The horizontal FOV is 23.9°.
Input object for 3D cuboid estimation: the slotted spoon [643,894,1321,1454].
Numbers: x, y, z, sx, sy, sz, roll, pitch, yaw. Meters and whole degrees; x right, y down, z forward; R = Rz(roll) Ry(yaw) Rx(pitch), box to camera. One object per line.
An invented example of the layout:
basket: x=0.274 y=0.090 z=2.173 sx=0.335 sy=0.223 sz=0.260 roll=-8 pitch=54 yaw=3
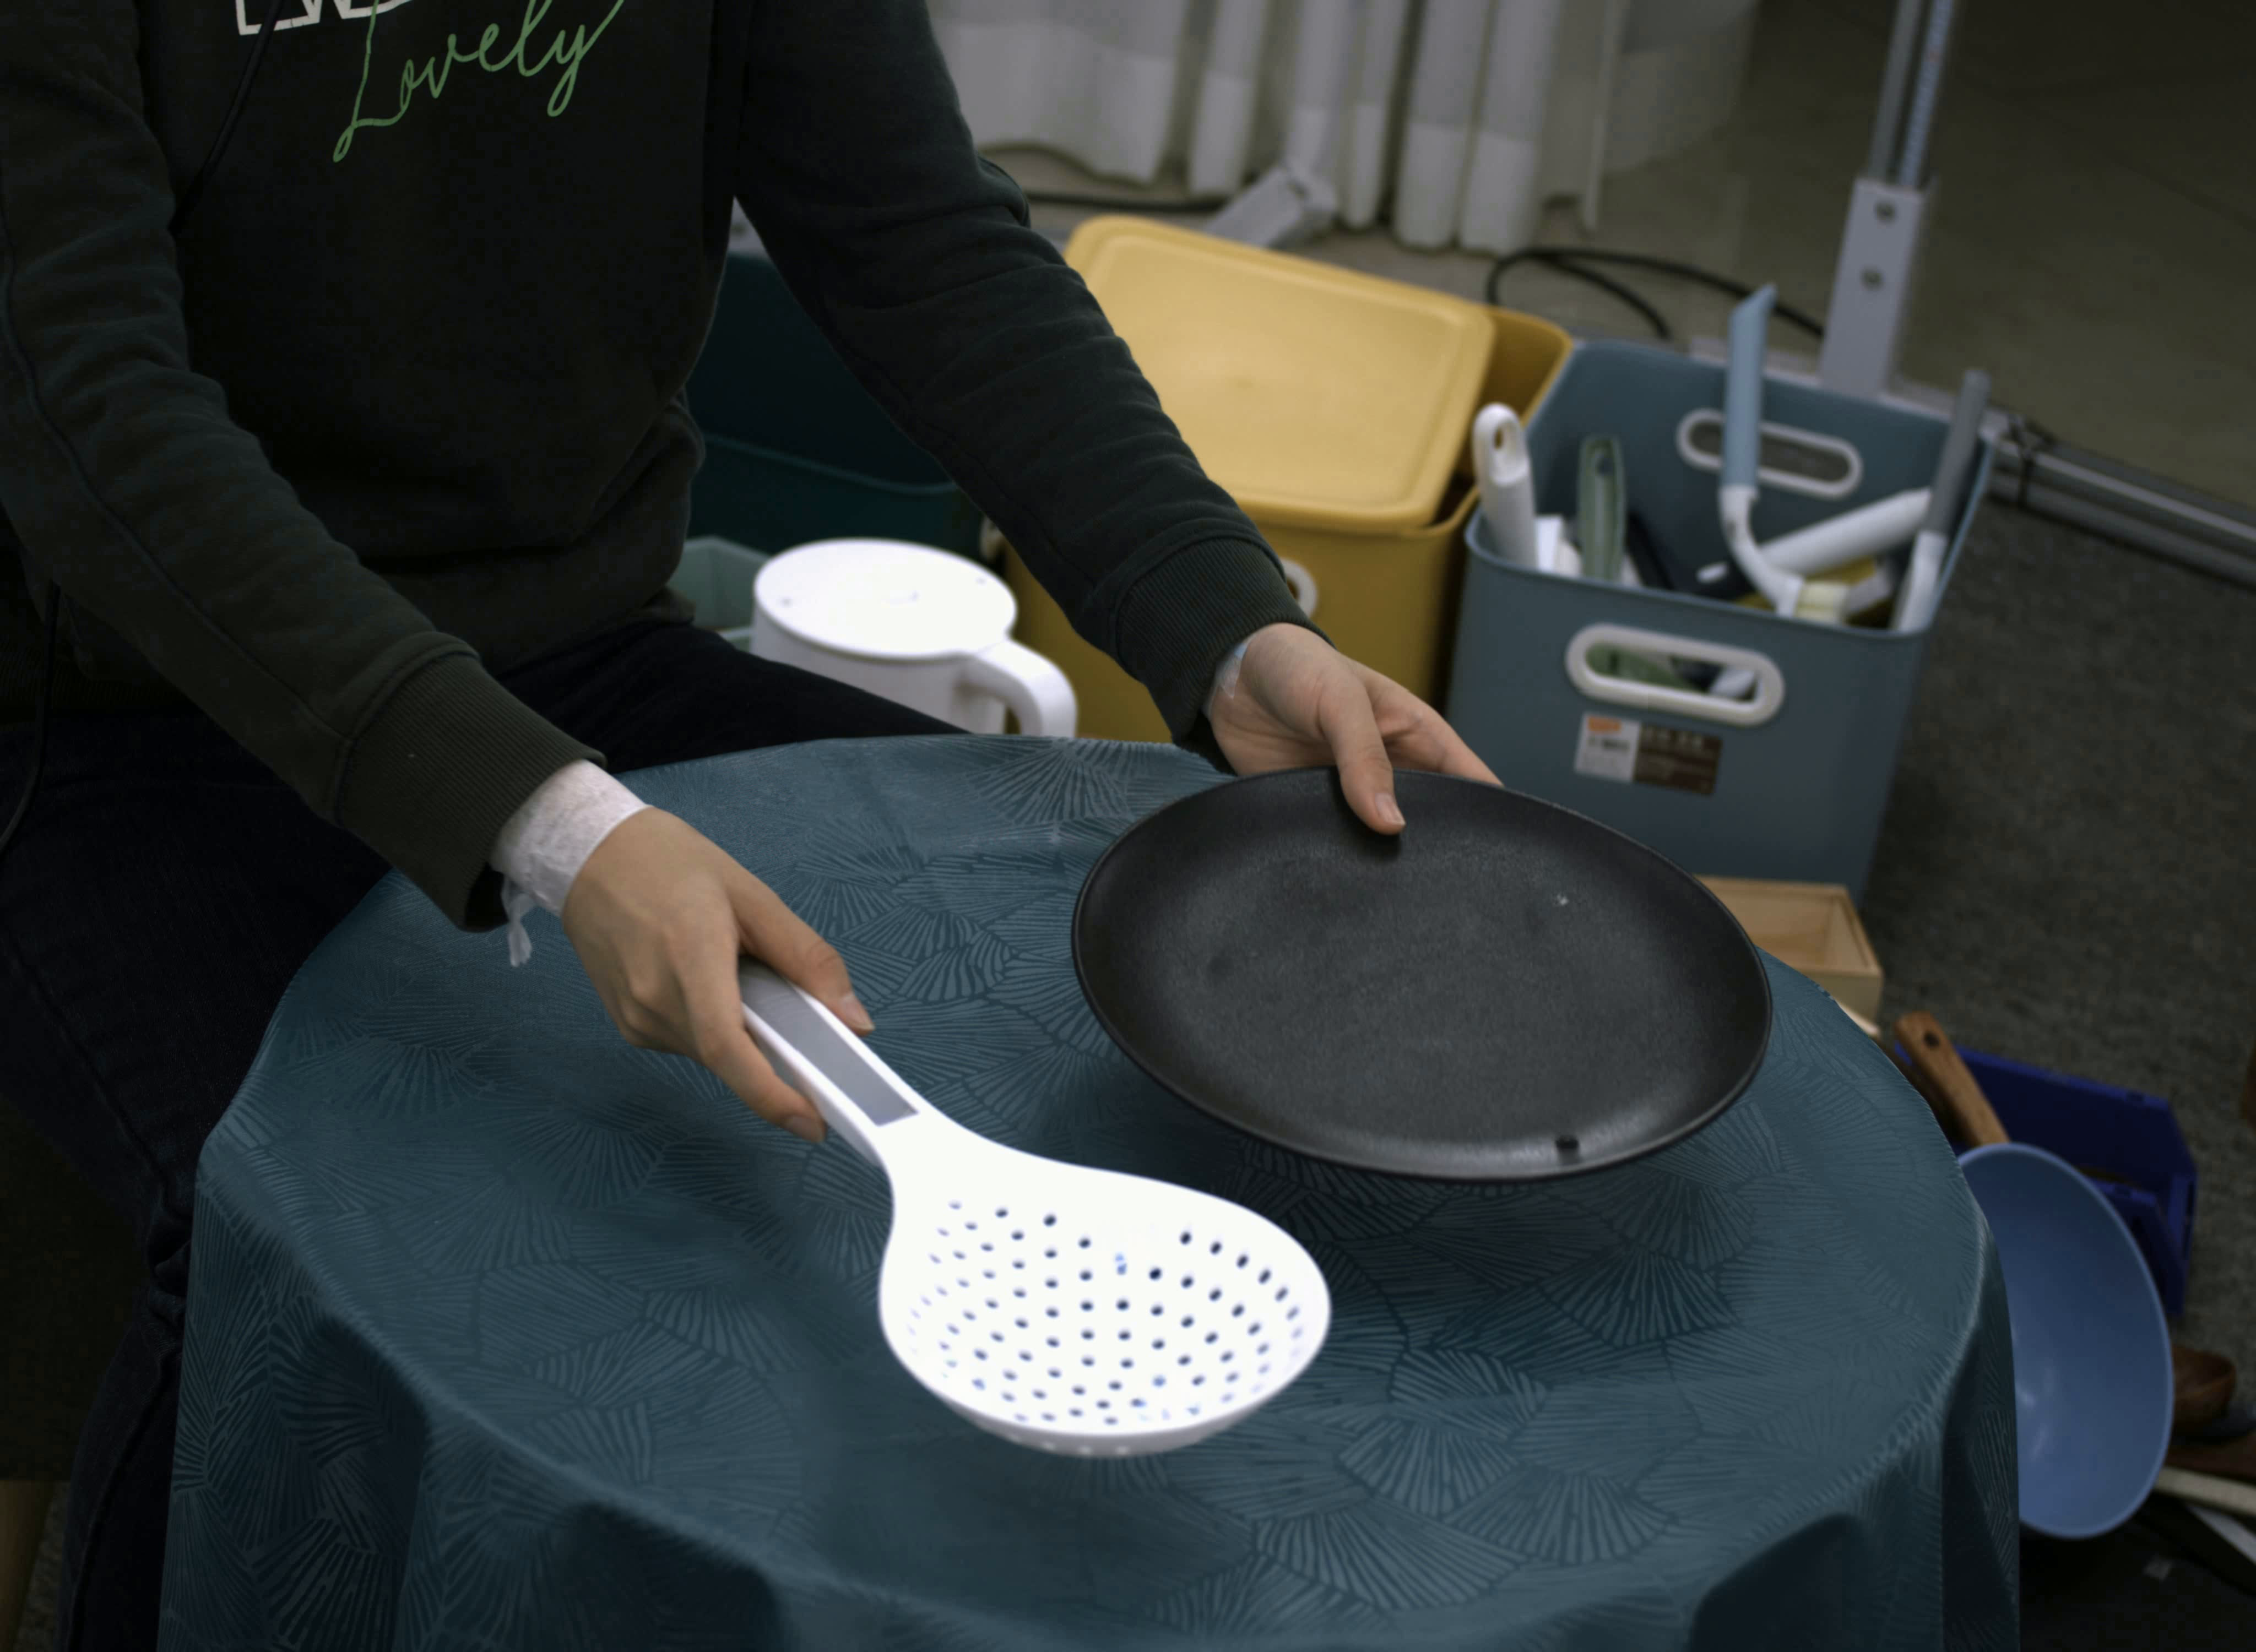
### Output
slotted spoon: x=-0.066 y=0.104 z=1.686 sx=0.135 sy=0.045 sz=0.353 roll=-16 pitch=37 yaw=-27

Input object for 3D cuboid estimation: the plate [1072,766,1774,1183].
plate: x=0.100 y=0.053 z=1.828 sx=0.243 sy=0.023 sz=0.246 roll=5 pitch=33 yaw=-3
